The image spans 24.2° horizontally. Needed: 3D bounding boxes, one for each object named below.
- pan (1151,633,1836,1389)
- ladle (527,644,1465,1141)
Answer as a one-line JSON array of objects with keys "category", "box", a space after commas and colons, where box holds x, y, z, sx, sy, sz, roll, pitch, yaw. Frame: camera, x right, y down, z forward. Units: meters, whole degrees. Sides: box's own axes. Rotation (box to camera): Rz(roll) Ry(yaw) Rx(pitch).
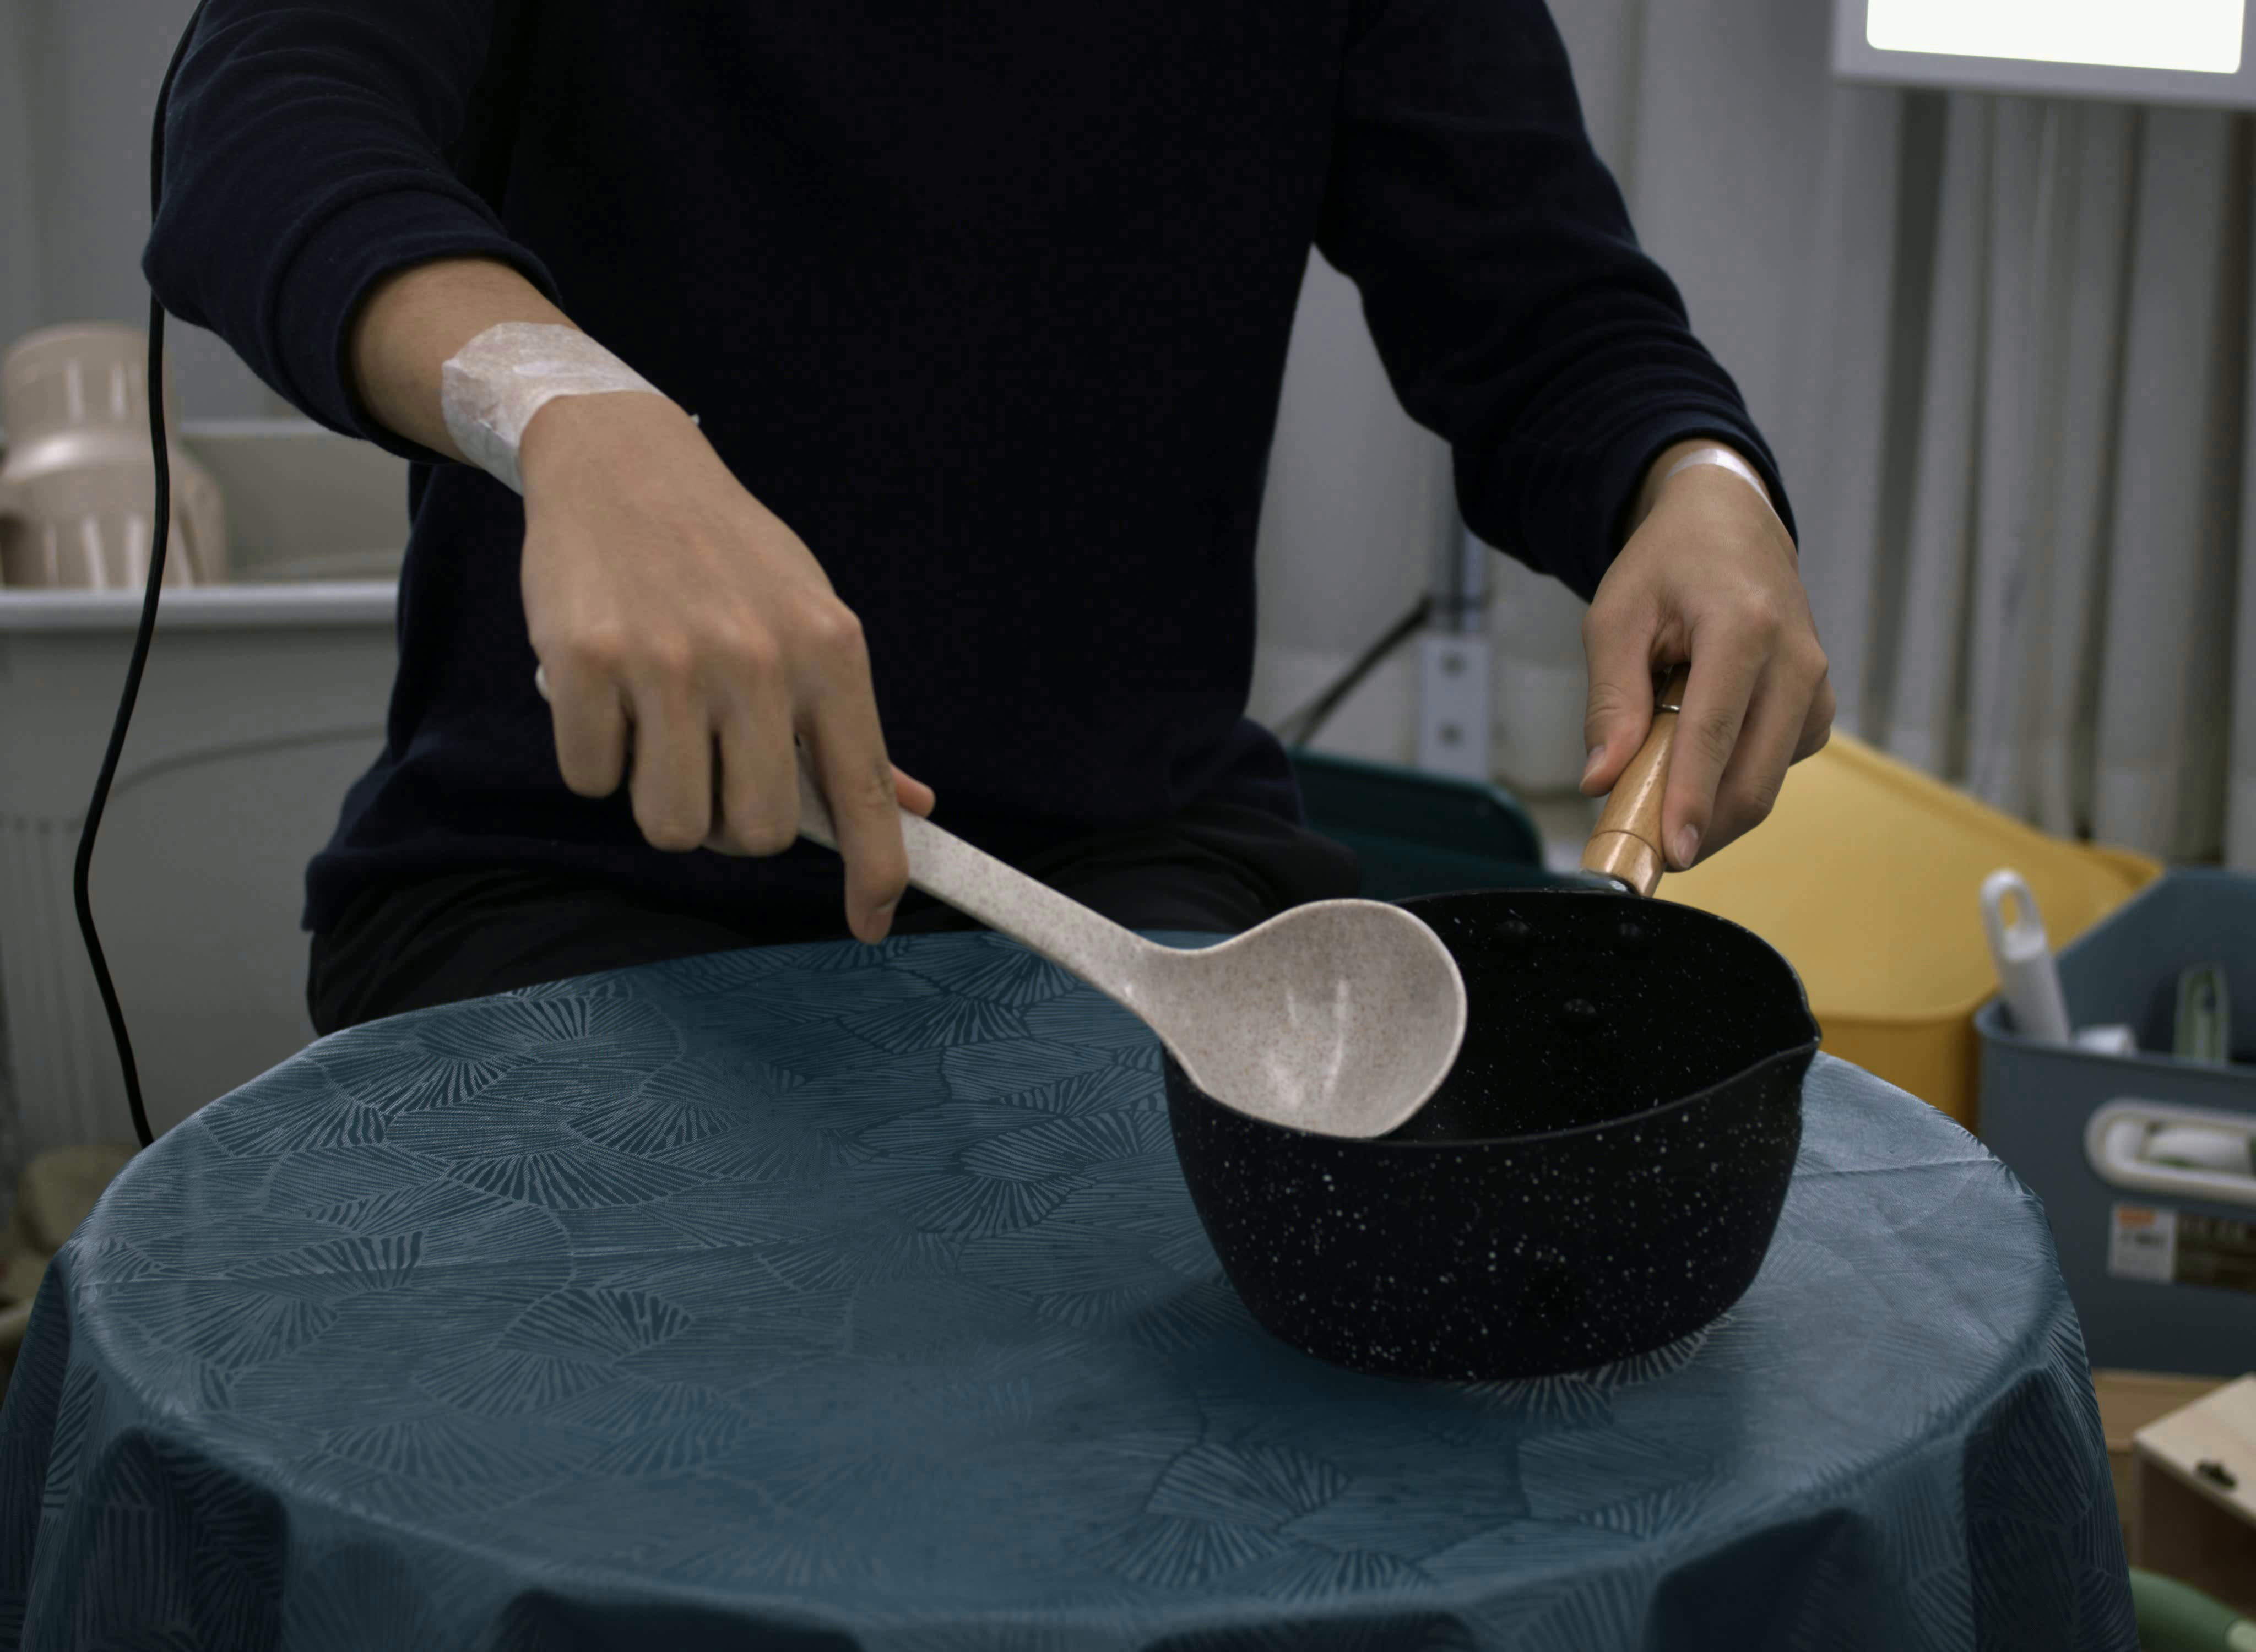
[{"category": "pan", "box": [0.130, 0.050, 1.581, 0.205, 0.109, 0.342, 2, 24, 21]}, {"category": "ladle", "box": [-0.033, 0.009, 1.439, 0.277, 0.089, 0.069, 29, -28, -23]}]
